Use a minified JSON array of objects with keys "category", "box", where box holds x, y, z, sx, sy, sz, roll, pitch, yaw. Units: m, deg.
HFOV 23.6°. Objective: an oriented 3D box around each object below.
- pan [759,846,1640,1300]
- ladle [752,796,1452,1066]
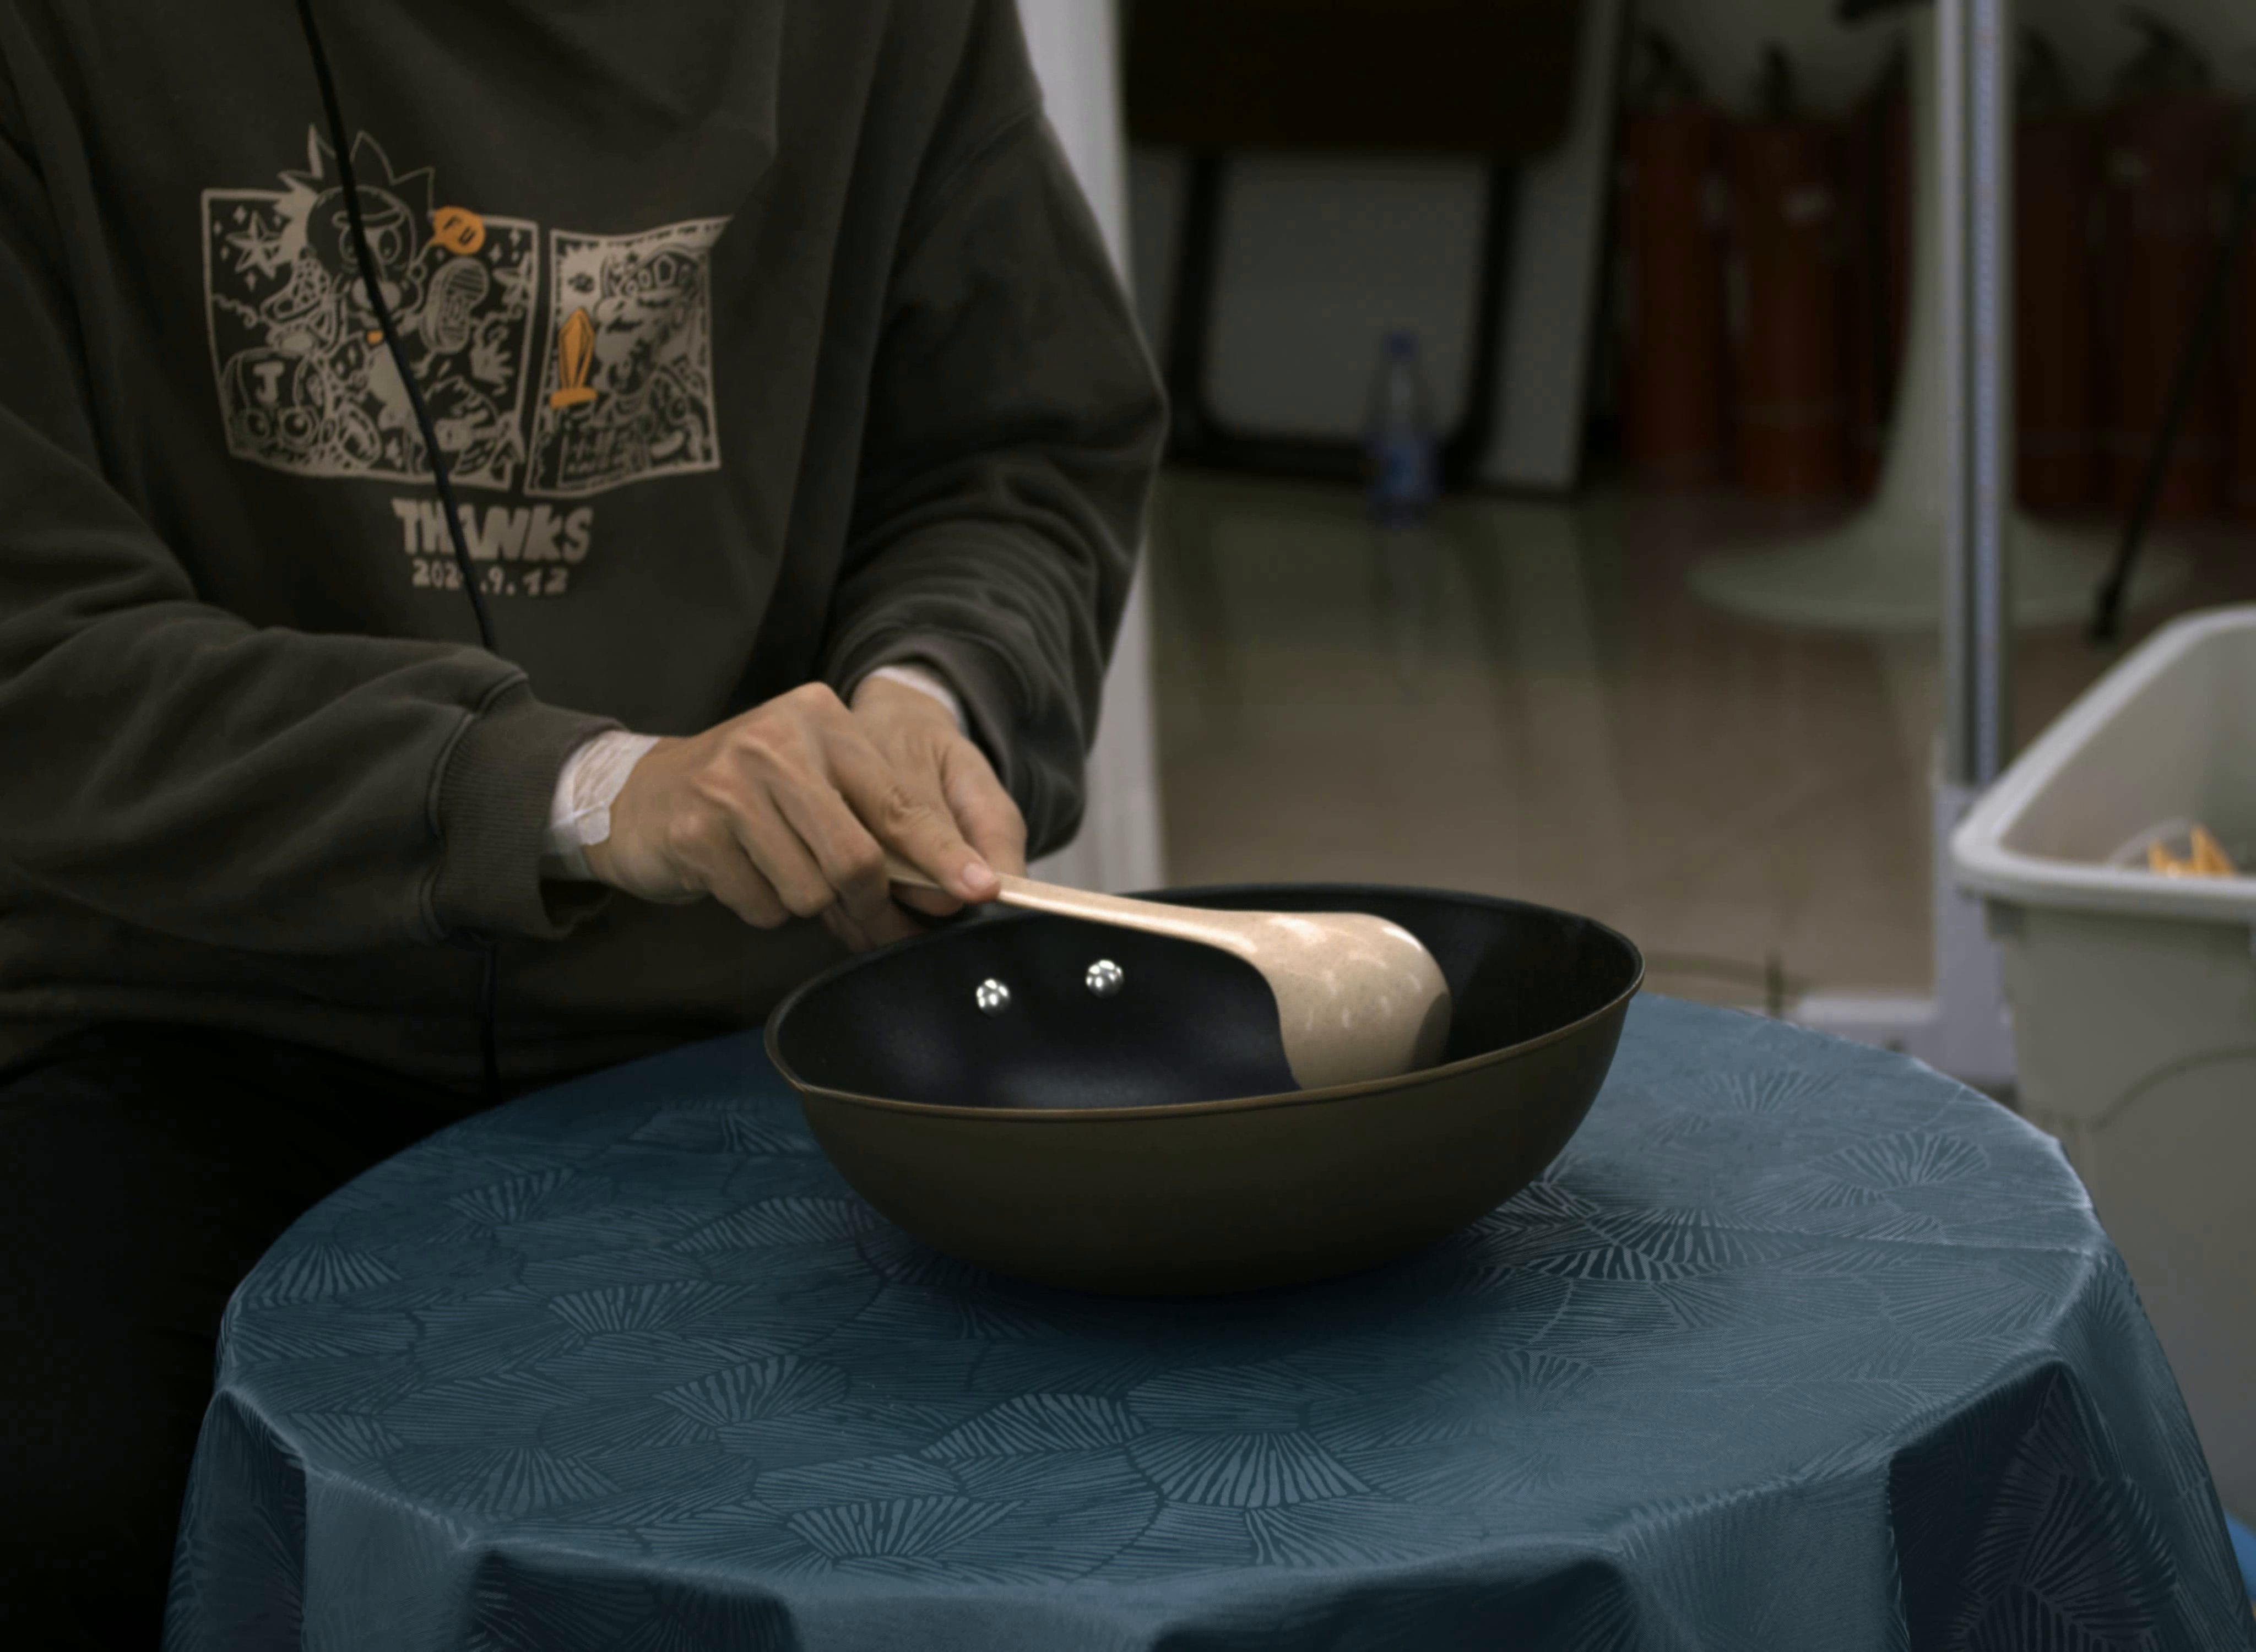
[{"category":"pan","box":[-0.012,0.077,1.794,0.282,0.088,0.468,-10,12,-22]},{"category":"ladle","box":[-0.012,0.046,1.813,0.255,0.073,0.072,14,50,27]}]
